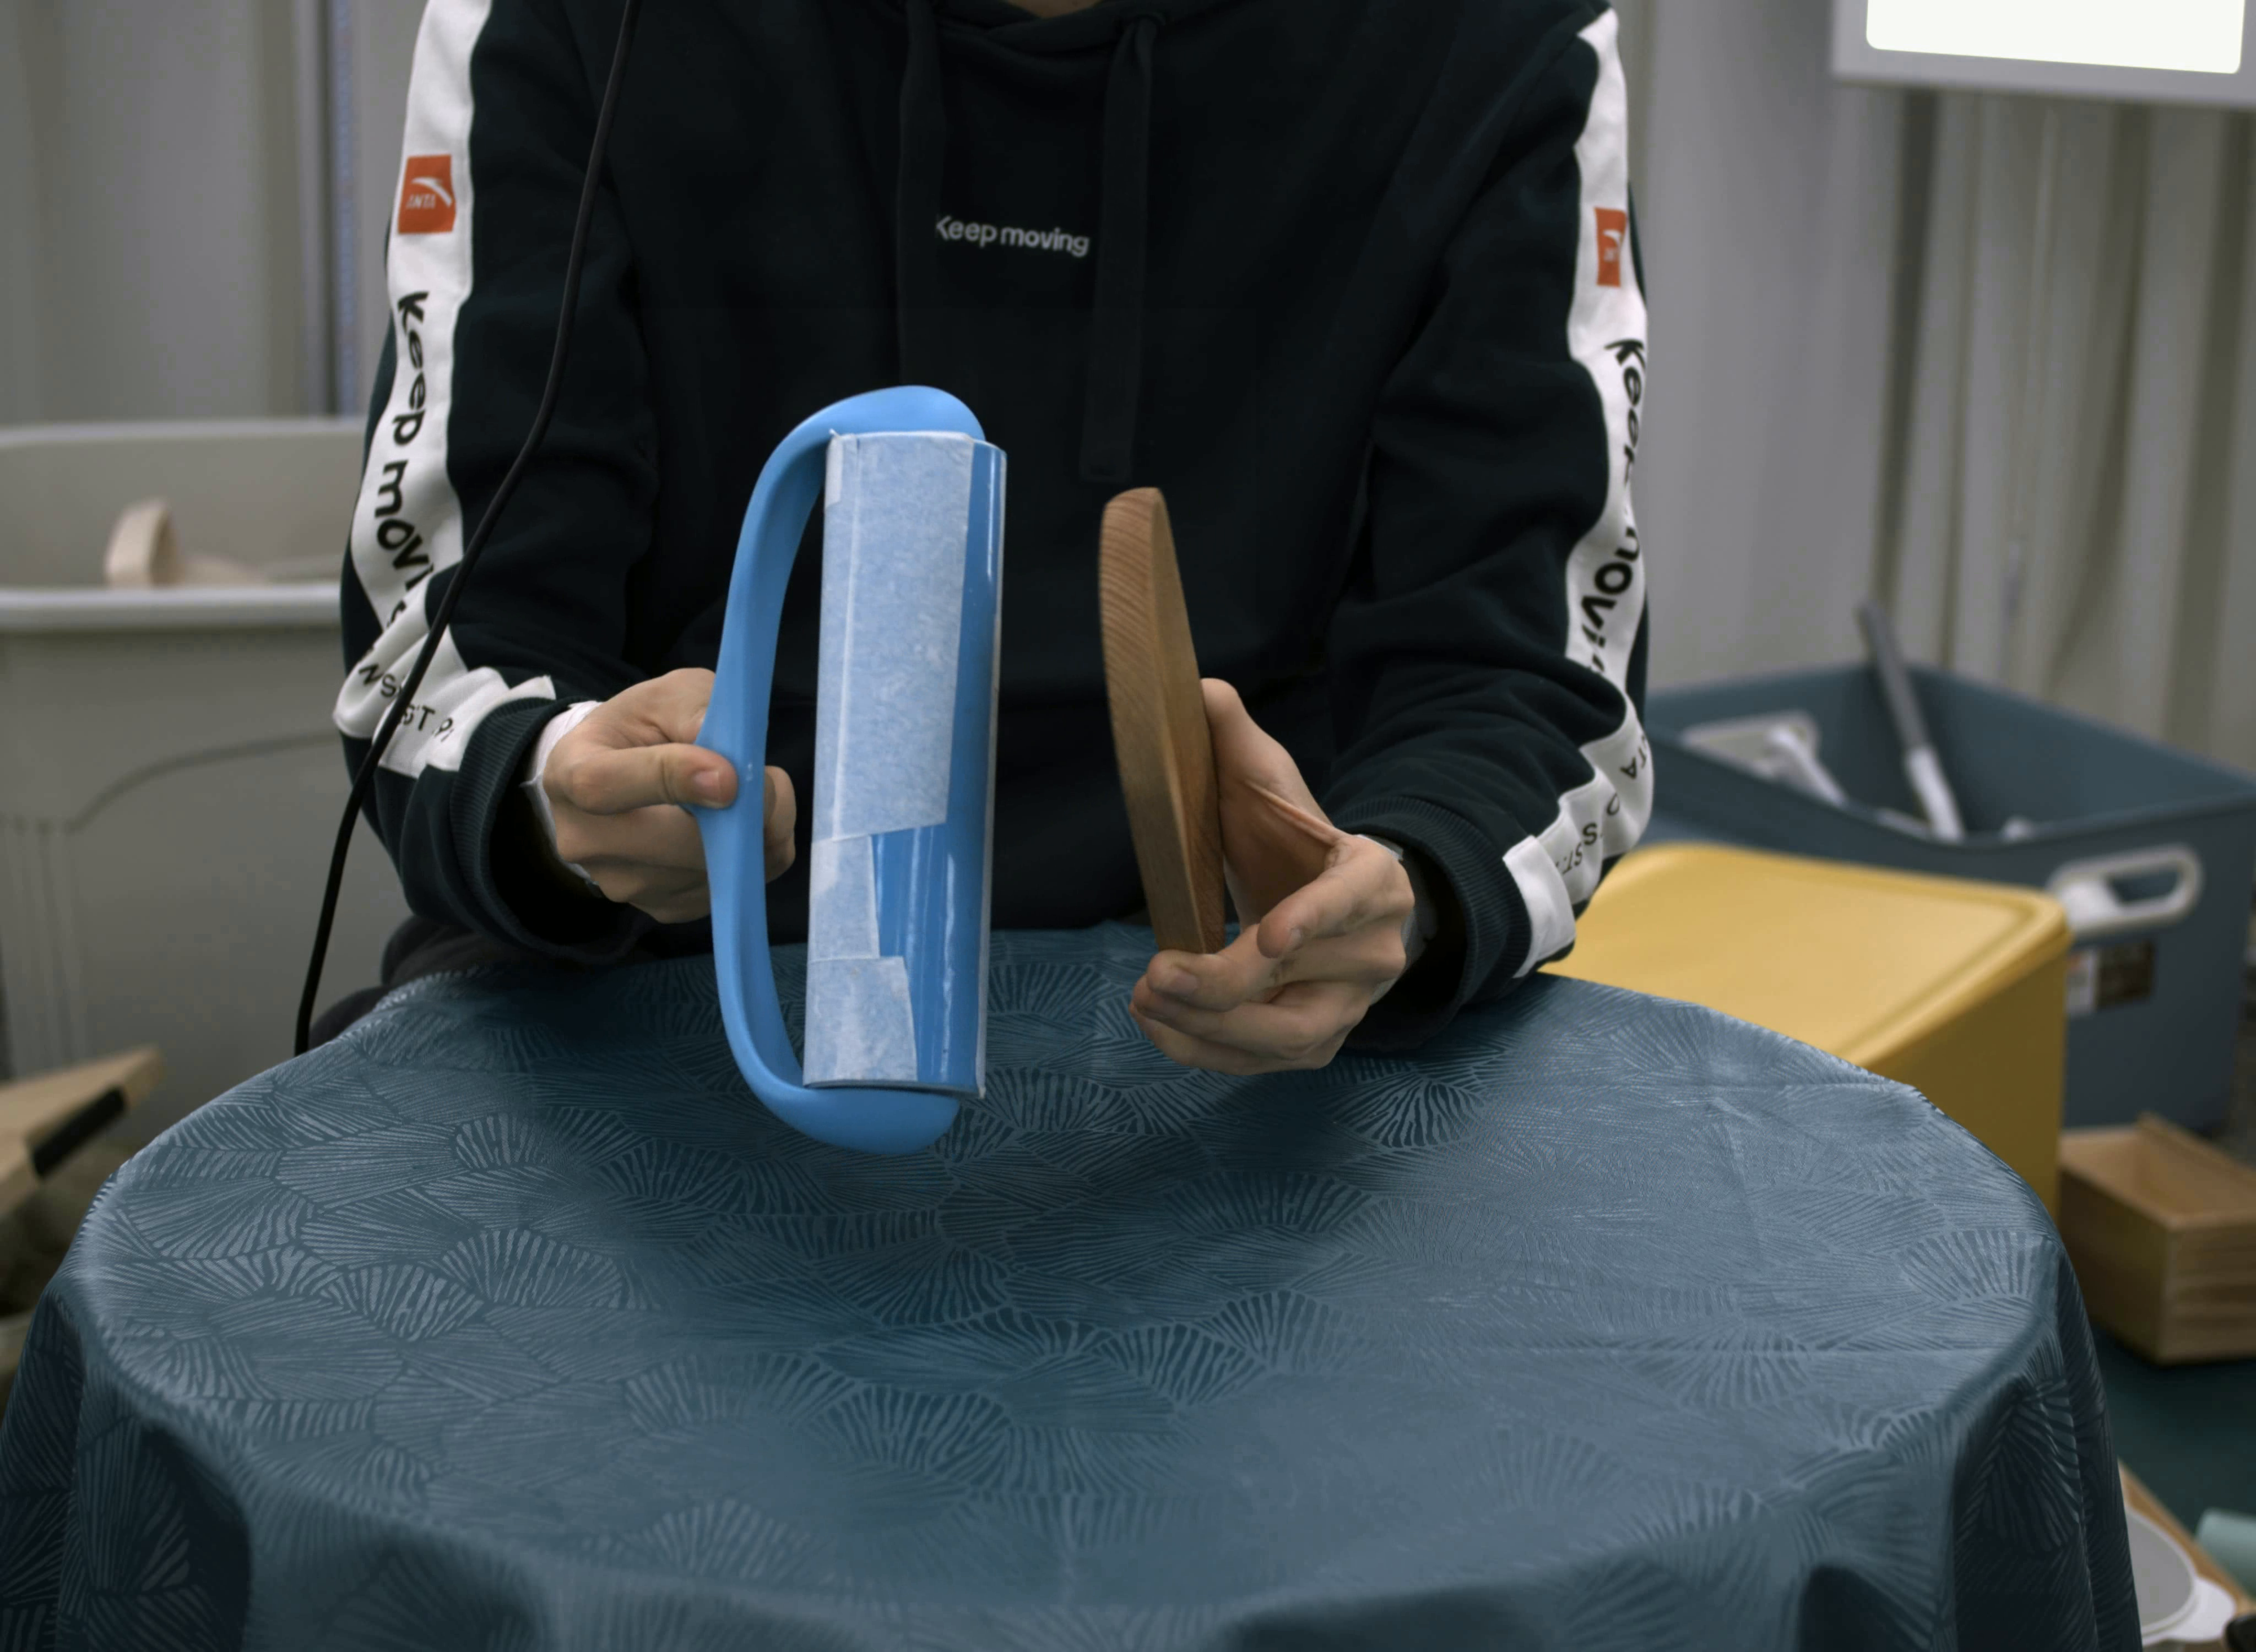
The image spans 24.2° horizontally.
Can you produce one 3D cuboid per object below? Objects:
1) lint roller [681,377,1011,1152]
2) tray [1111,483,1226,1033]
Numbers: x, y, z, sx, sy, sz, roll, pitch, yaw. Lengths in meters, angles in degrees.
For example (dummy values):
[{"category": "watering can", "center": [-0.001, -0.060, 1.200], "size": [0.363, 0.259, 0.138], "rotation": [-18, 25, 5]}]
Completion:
[{"category": "lint roller", "center": [-0.100, -0.011, 1.590], "size": [0.068, 0.229, 0.179], "rotation": [6, -11, -36]}, {"category": "tray", "center": [0.013, -0.017, 1.576], "size": [0.020, 0.101, 0.233], "rotation": [-2, -28, 4]}]
